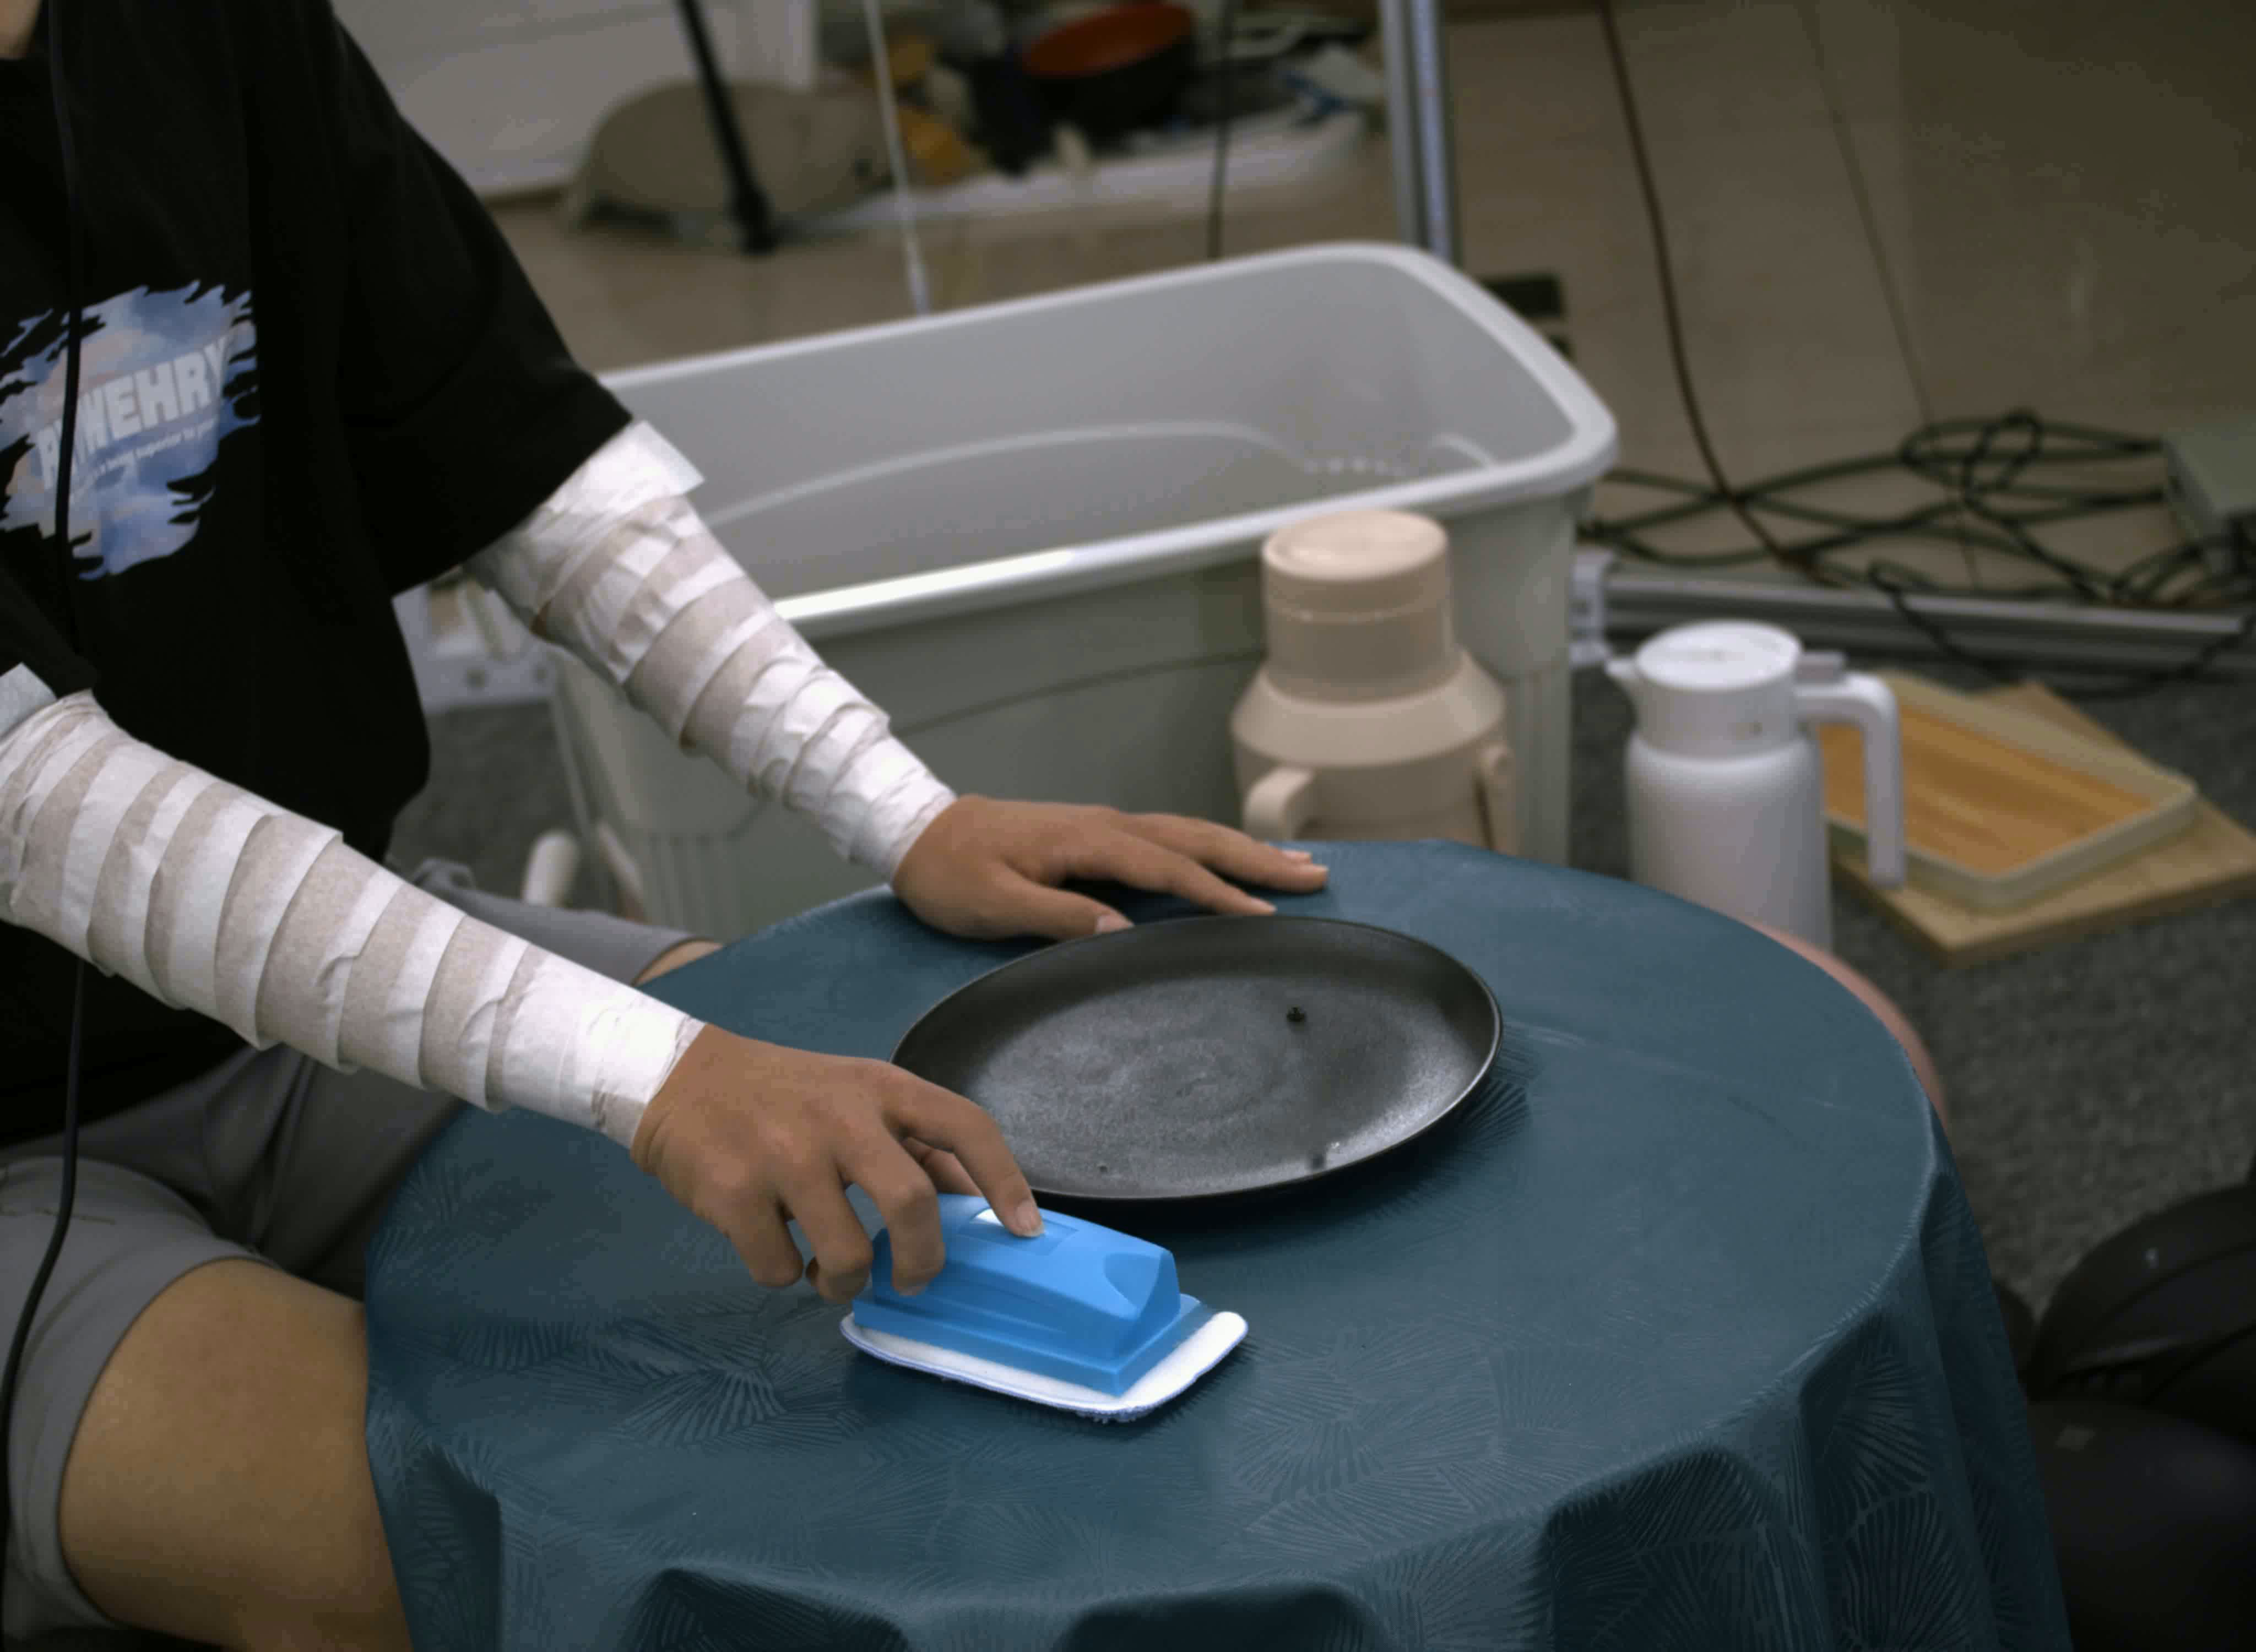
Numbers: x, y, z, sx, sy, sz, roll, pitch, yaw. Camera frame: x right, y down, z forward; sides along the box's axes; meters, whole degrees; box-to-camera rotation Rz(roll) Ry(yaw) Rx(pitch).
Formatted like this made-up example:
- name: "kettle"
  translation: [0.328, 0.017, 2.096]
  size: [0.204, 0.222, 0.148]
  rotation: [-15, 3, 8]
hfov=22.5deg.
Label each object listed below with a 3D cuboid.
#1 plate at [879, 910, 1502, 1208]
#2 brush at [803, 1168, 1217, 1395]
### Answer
- name: "plate"
  translation: [0.025, 0.096, 2.206]
  size: [0.244, 0.024, 0.241]
  rotation: [-5, 25, 3]
- name: "brush"
  translation: [-0.042, 0.161, 2.034]
  size: [0.143, 0.057, 0.083]
  rotation: [14, 27, 31]
